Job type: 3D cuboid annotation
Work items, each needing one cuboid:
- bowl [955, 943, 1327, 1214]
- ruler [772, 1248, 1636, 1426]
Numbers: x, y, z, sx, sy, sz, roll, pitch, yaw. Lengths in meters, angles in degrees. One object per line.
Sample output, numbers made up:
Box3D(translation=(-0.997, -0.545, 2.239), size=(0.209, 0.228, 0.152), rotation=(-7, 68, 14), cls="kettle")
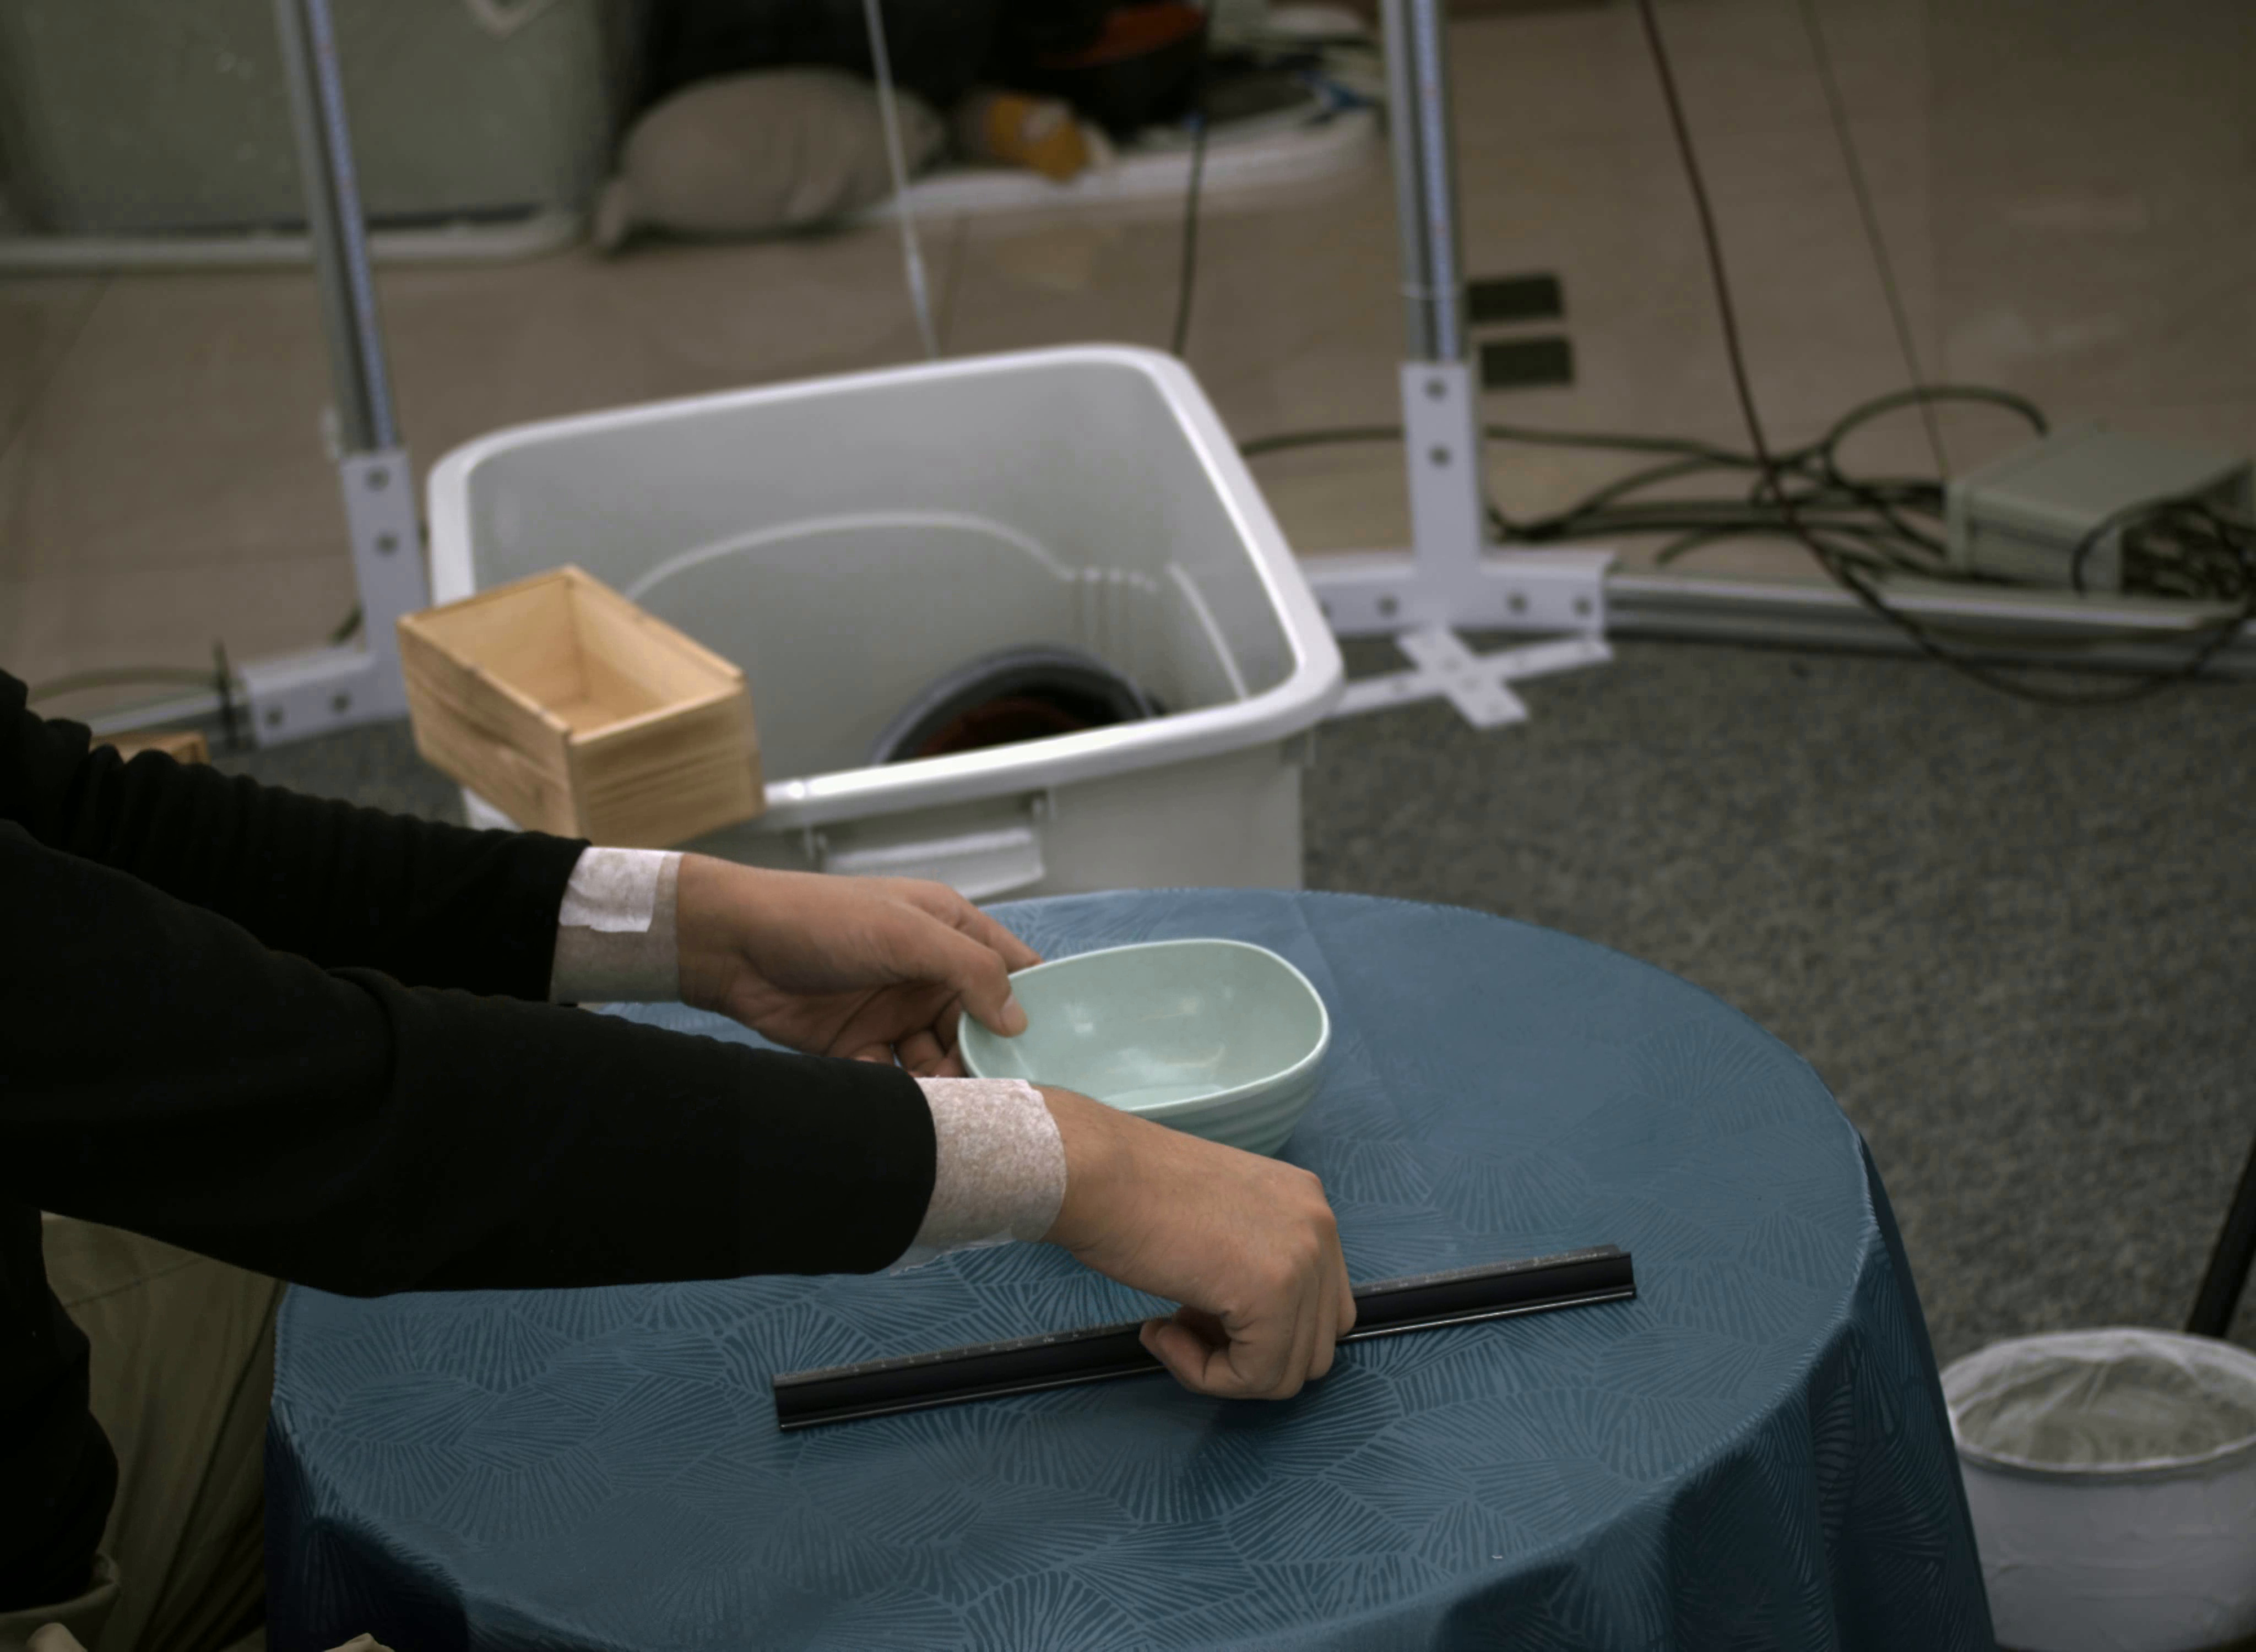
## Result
Box3D(translation=(0.006, 0.101, 2.159), size=(0.151, 0.059, 0.149), rotation=(-3, 25, 1), cls="bowl")
Box3D(translation=(0.026, 0.177, 2.040), size=(0.312, 0.017, 0.039), rotation=(-8, 22, -4), cls="ruler")
